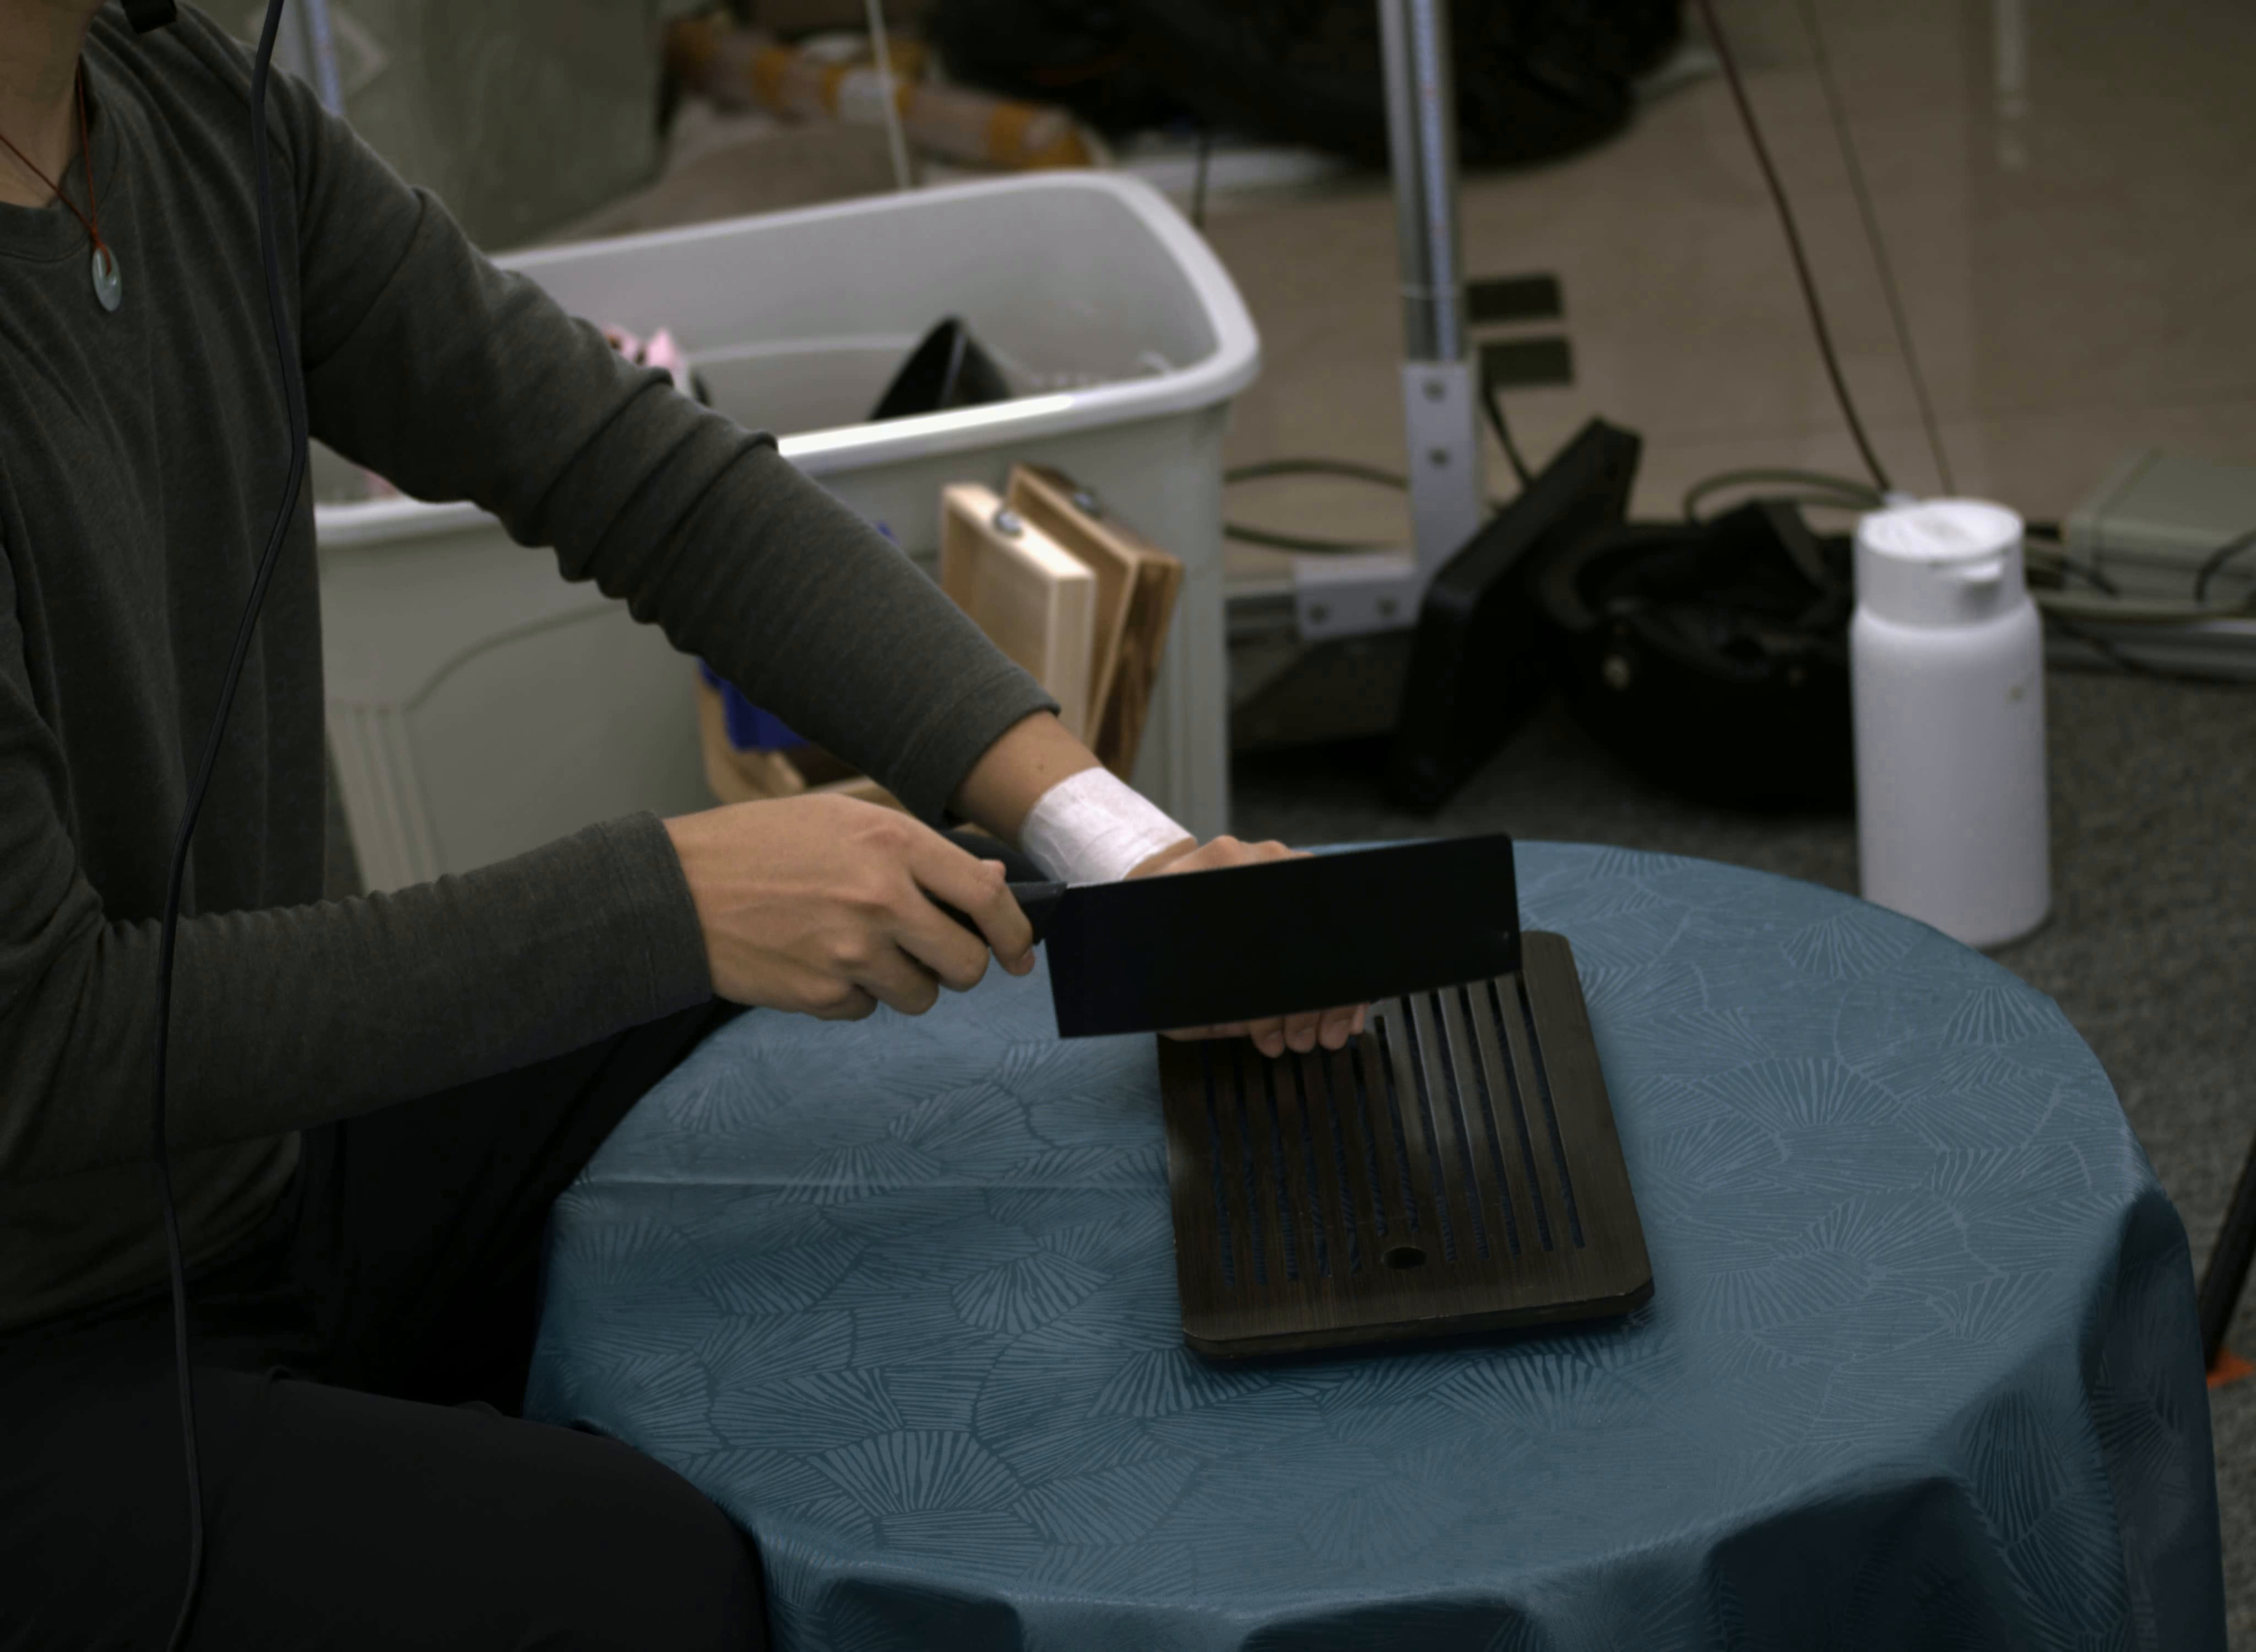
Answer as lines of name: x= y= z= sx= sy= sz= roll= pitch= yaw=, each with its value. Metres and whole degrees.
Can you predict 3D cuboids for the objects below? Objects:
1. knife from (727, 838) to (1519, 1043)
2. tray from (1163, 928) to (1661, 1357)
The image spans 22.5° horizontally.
knife: x=-0.002 y=0.047 z=2.152 sx=0.302 sy=0.082 sz=0.020 roll=-3 pitch=26 yaw=-1
tray: x=0.102 y=0.118 z=2.149 sx=0.170 sy=0.019 sz=0.301 roll=-7 pitch=24 yaw=1
